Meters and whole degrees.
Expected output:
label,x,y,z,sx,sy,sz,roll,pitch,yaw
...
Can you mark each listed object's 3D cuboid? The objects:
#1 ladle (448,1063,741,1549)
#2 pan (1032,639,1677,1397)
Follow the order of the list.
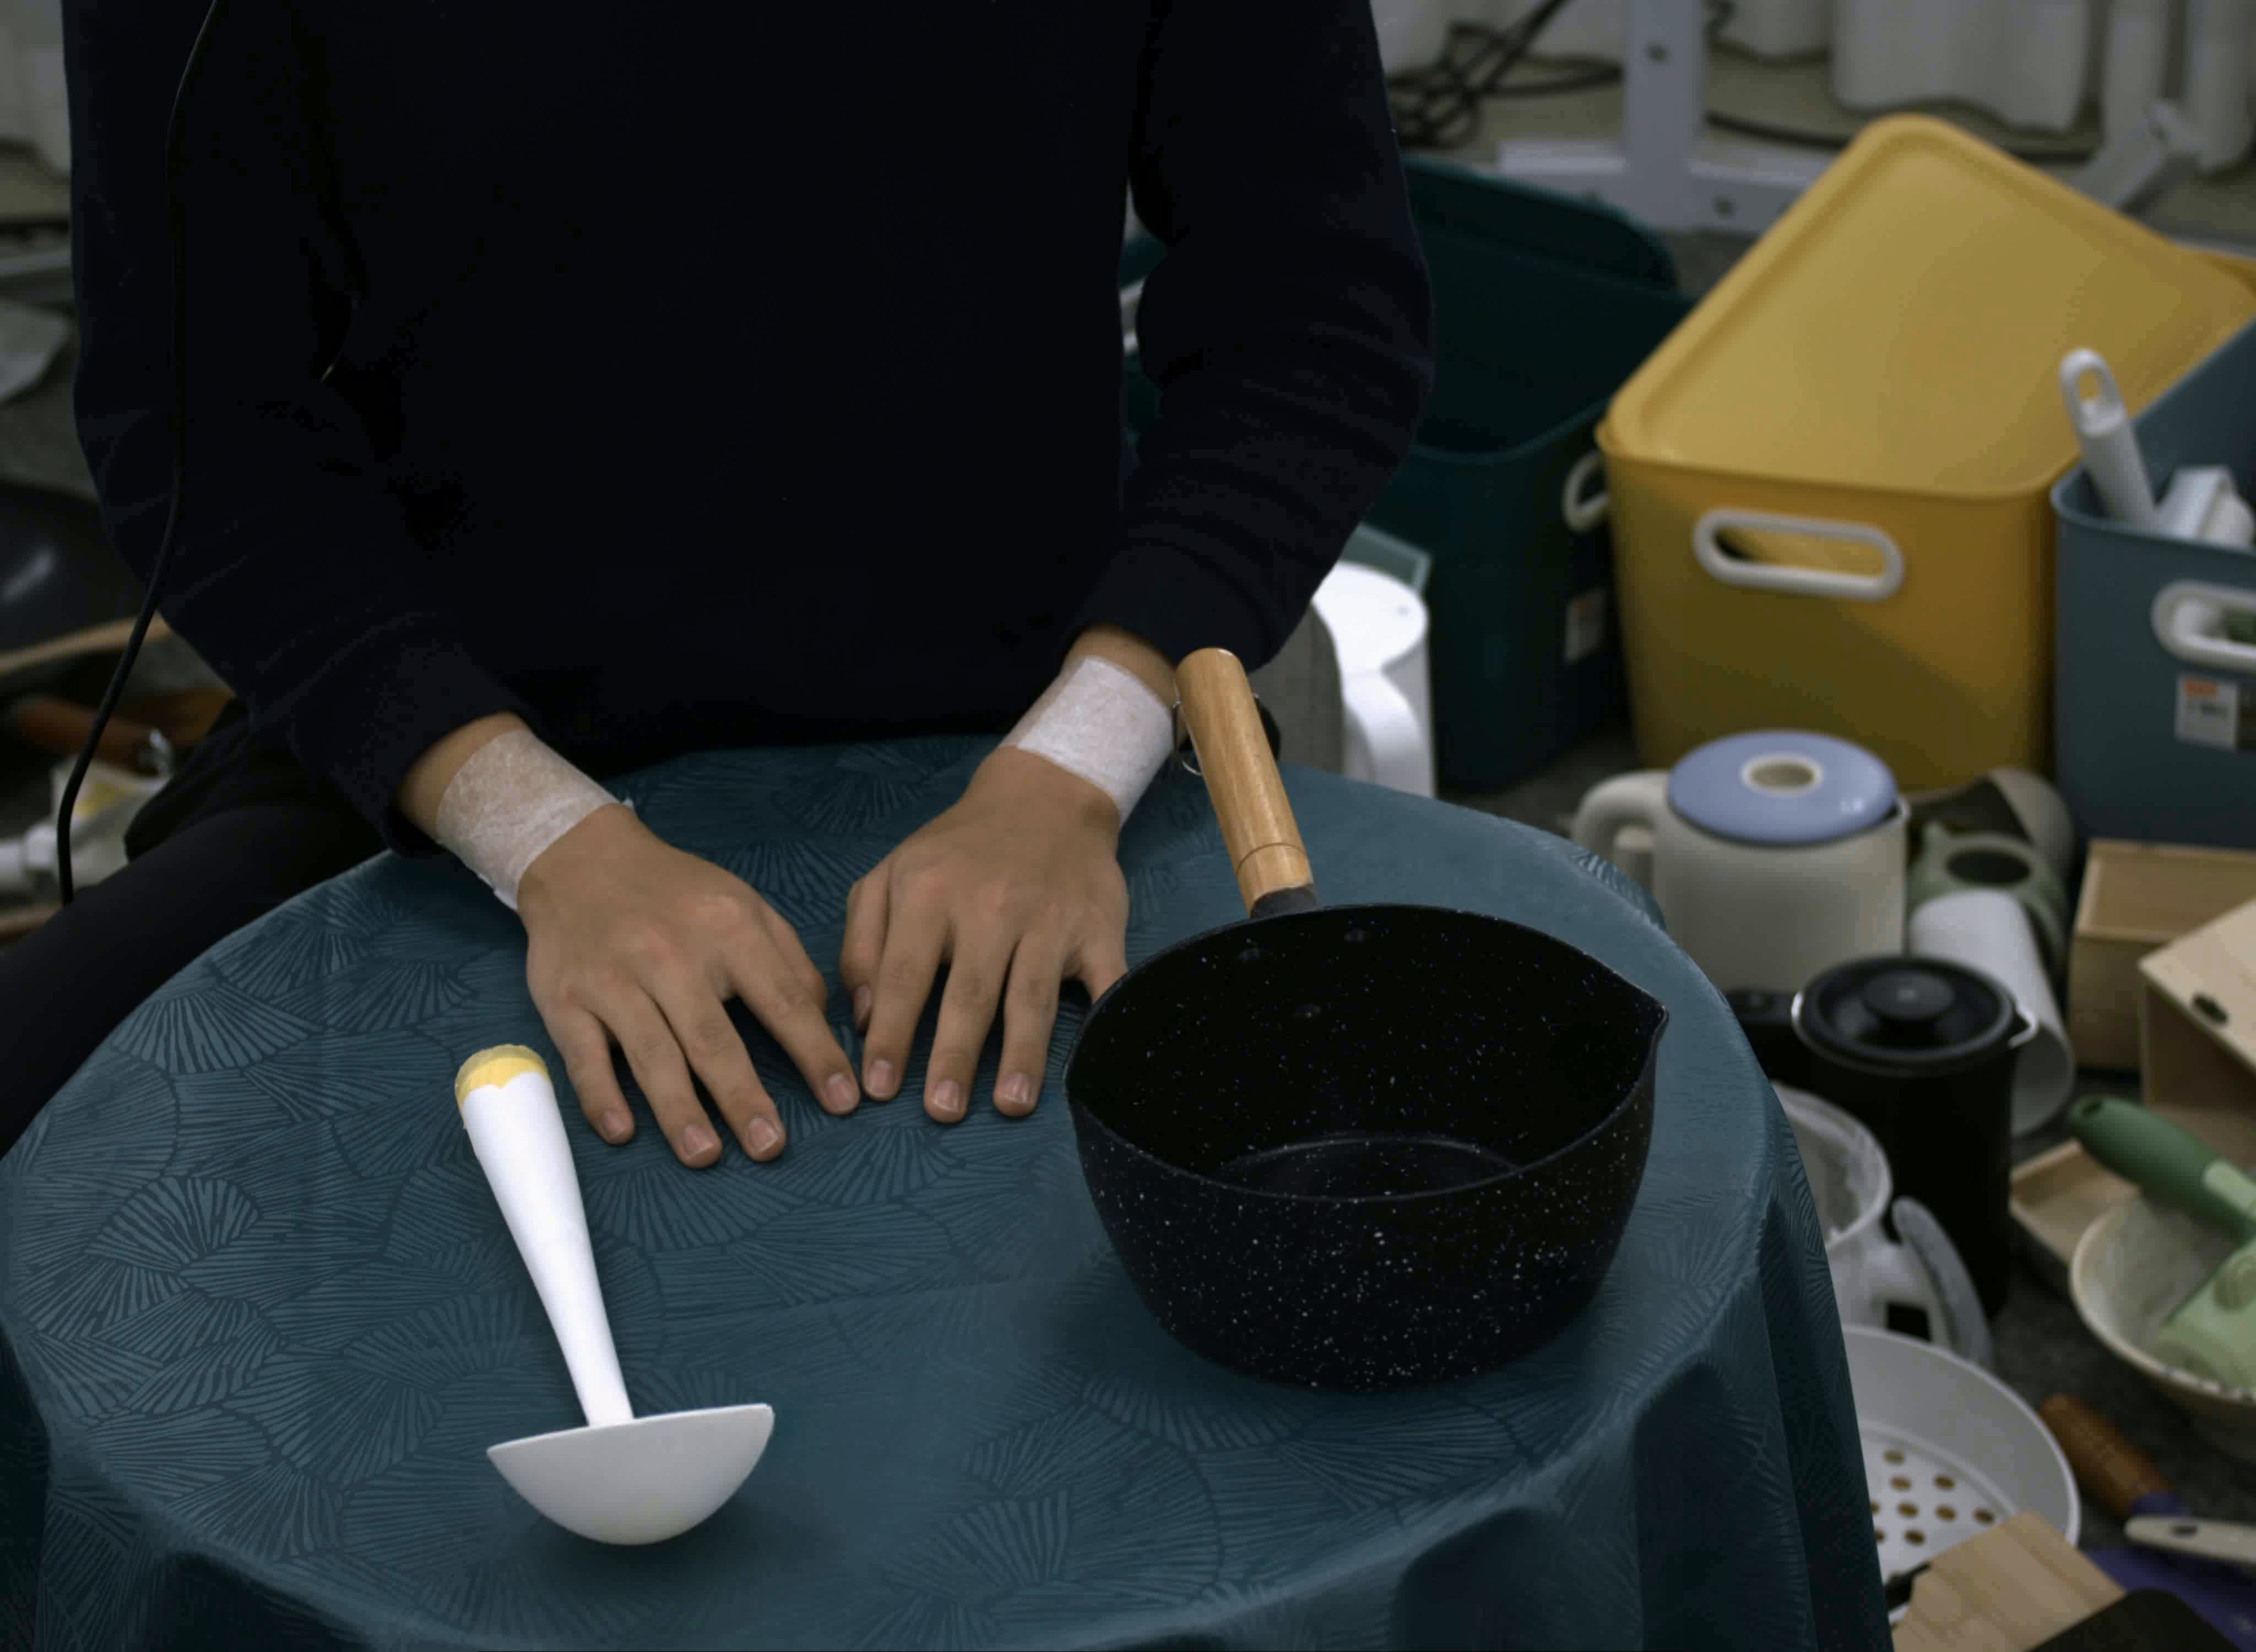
label,x,y,z,sx,sy,sz,roll,pitch,yaw
ladle,-0.183,0.140,1.777,0.090,0.069,0.296,-14,28,-8
pan,0.060,0.059,1.860,0.207,0.107,0.347,-9,29,-9
